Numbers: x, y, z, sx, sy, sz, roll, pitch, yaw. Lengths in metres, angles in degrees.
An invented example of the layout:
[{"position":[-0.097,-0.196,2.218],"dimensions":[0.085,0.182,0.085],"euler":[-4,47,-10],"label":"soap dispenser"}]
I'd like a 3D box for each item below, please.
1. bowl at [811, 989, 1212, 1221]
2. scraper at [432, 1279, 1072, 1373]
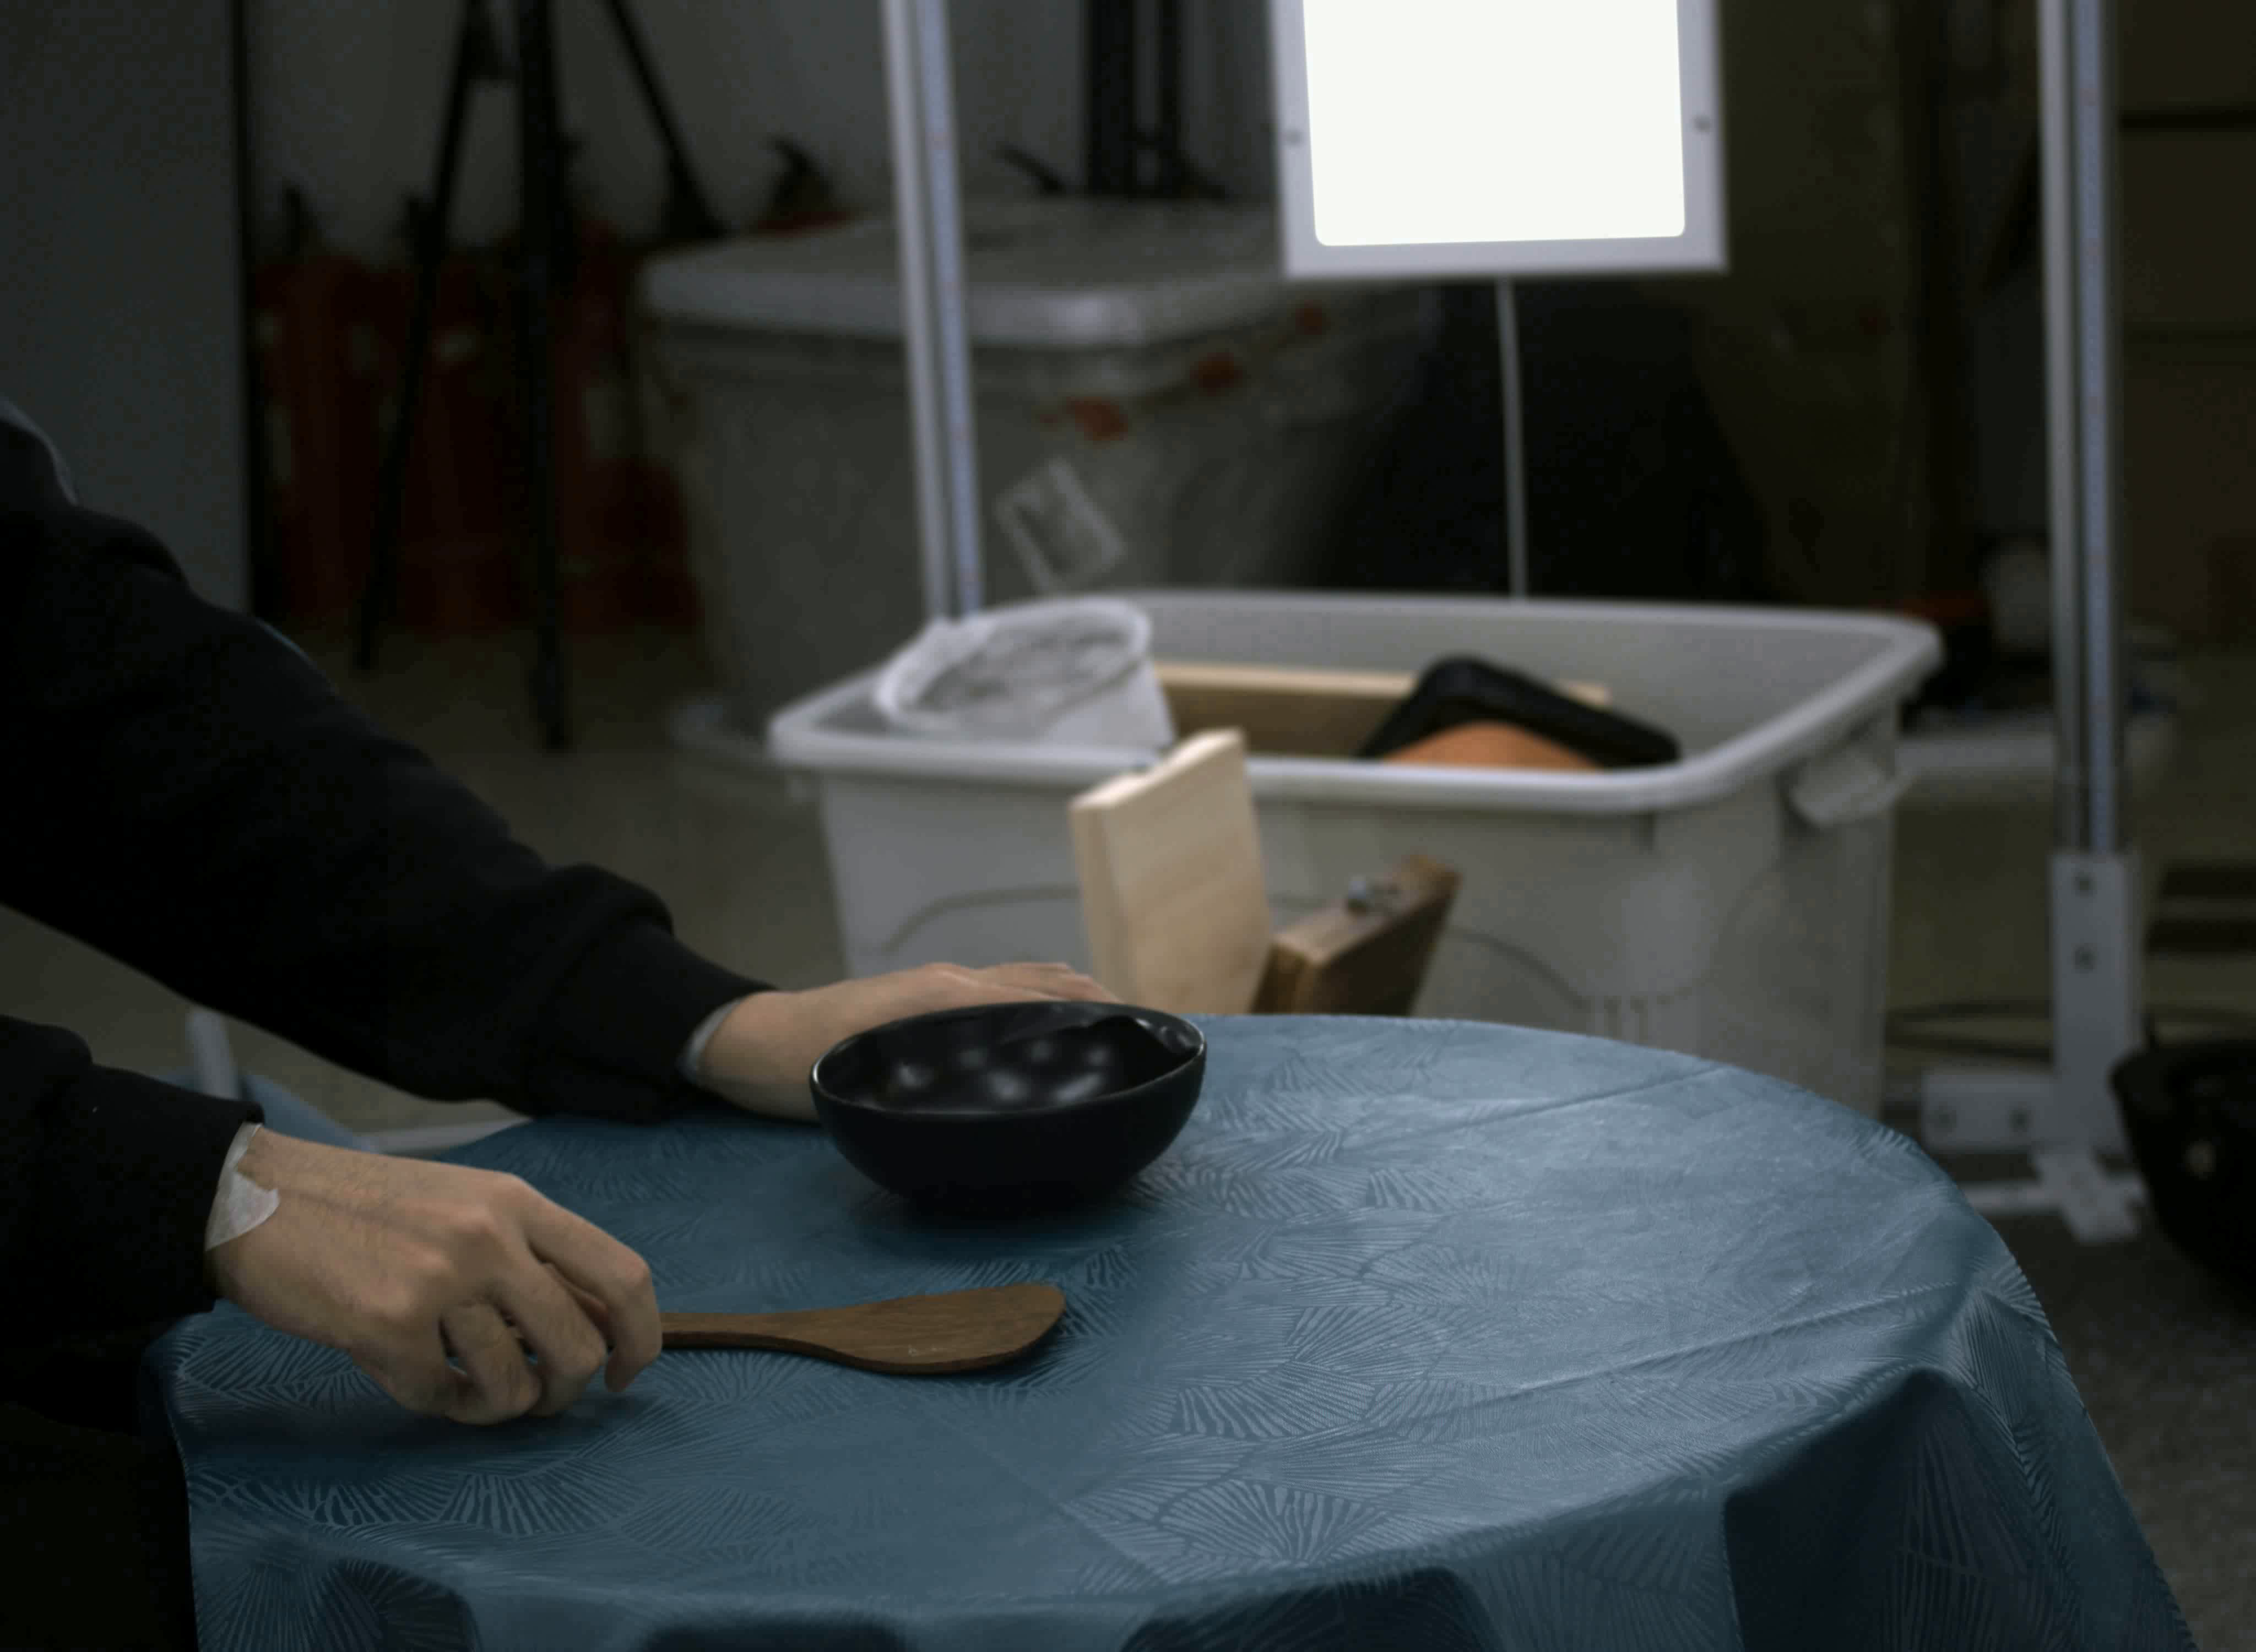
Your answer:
[{"position":[-0.039,0.101,1.908],"dimensions":[0.139,0.050,0.140],"euler":[-5,17,0],"label":"bowl"},{"position":[-0.123,0.162,1.779],"dimensions":[0.213,0.011,0.075],"euler":[-2,13,15],"label":"scraper"}]
